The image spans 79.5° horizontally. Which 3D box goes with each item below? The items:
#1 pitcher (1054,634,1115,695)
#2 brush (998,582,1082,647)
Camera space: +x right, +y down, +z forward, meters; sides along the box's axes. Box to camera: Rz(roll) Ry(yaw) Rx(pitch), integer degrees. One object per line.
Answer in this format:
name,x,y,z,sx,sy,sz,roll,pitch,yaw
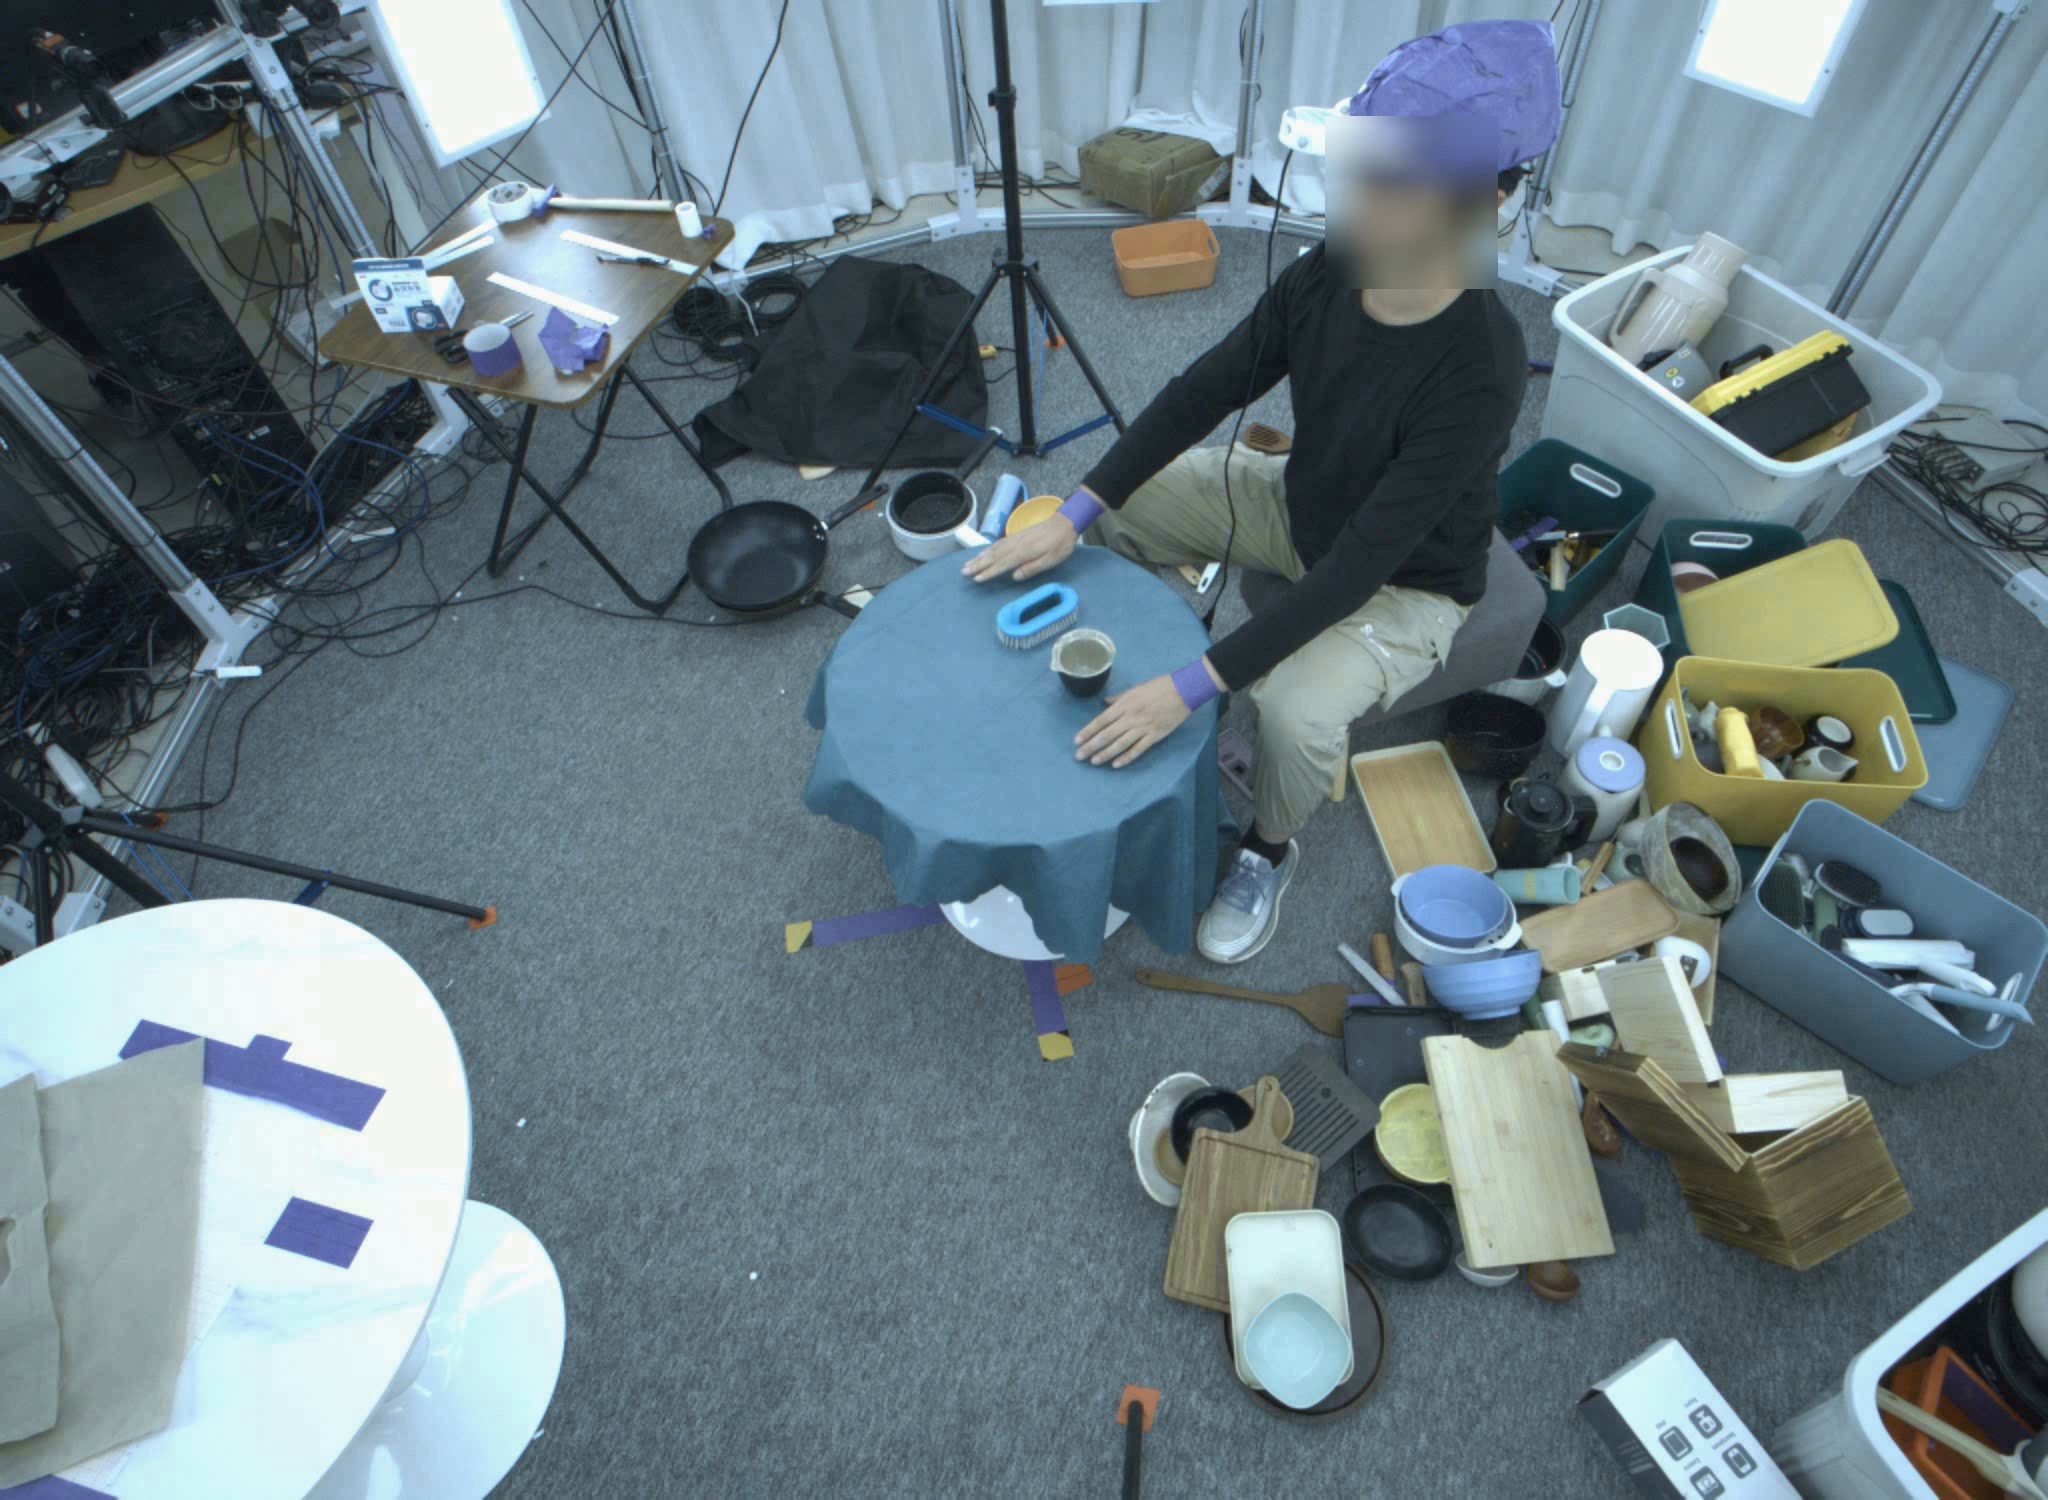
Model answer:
pitcher,0.090,-0.121,1.826,0.096,0.072,0.082,-22,57,-11
brush,0.022,-0.221,1.905,0.143,0.064,0.082,-29,54,-18
